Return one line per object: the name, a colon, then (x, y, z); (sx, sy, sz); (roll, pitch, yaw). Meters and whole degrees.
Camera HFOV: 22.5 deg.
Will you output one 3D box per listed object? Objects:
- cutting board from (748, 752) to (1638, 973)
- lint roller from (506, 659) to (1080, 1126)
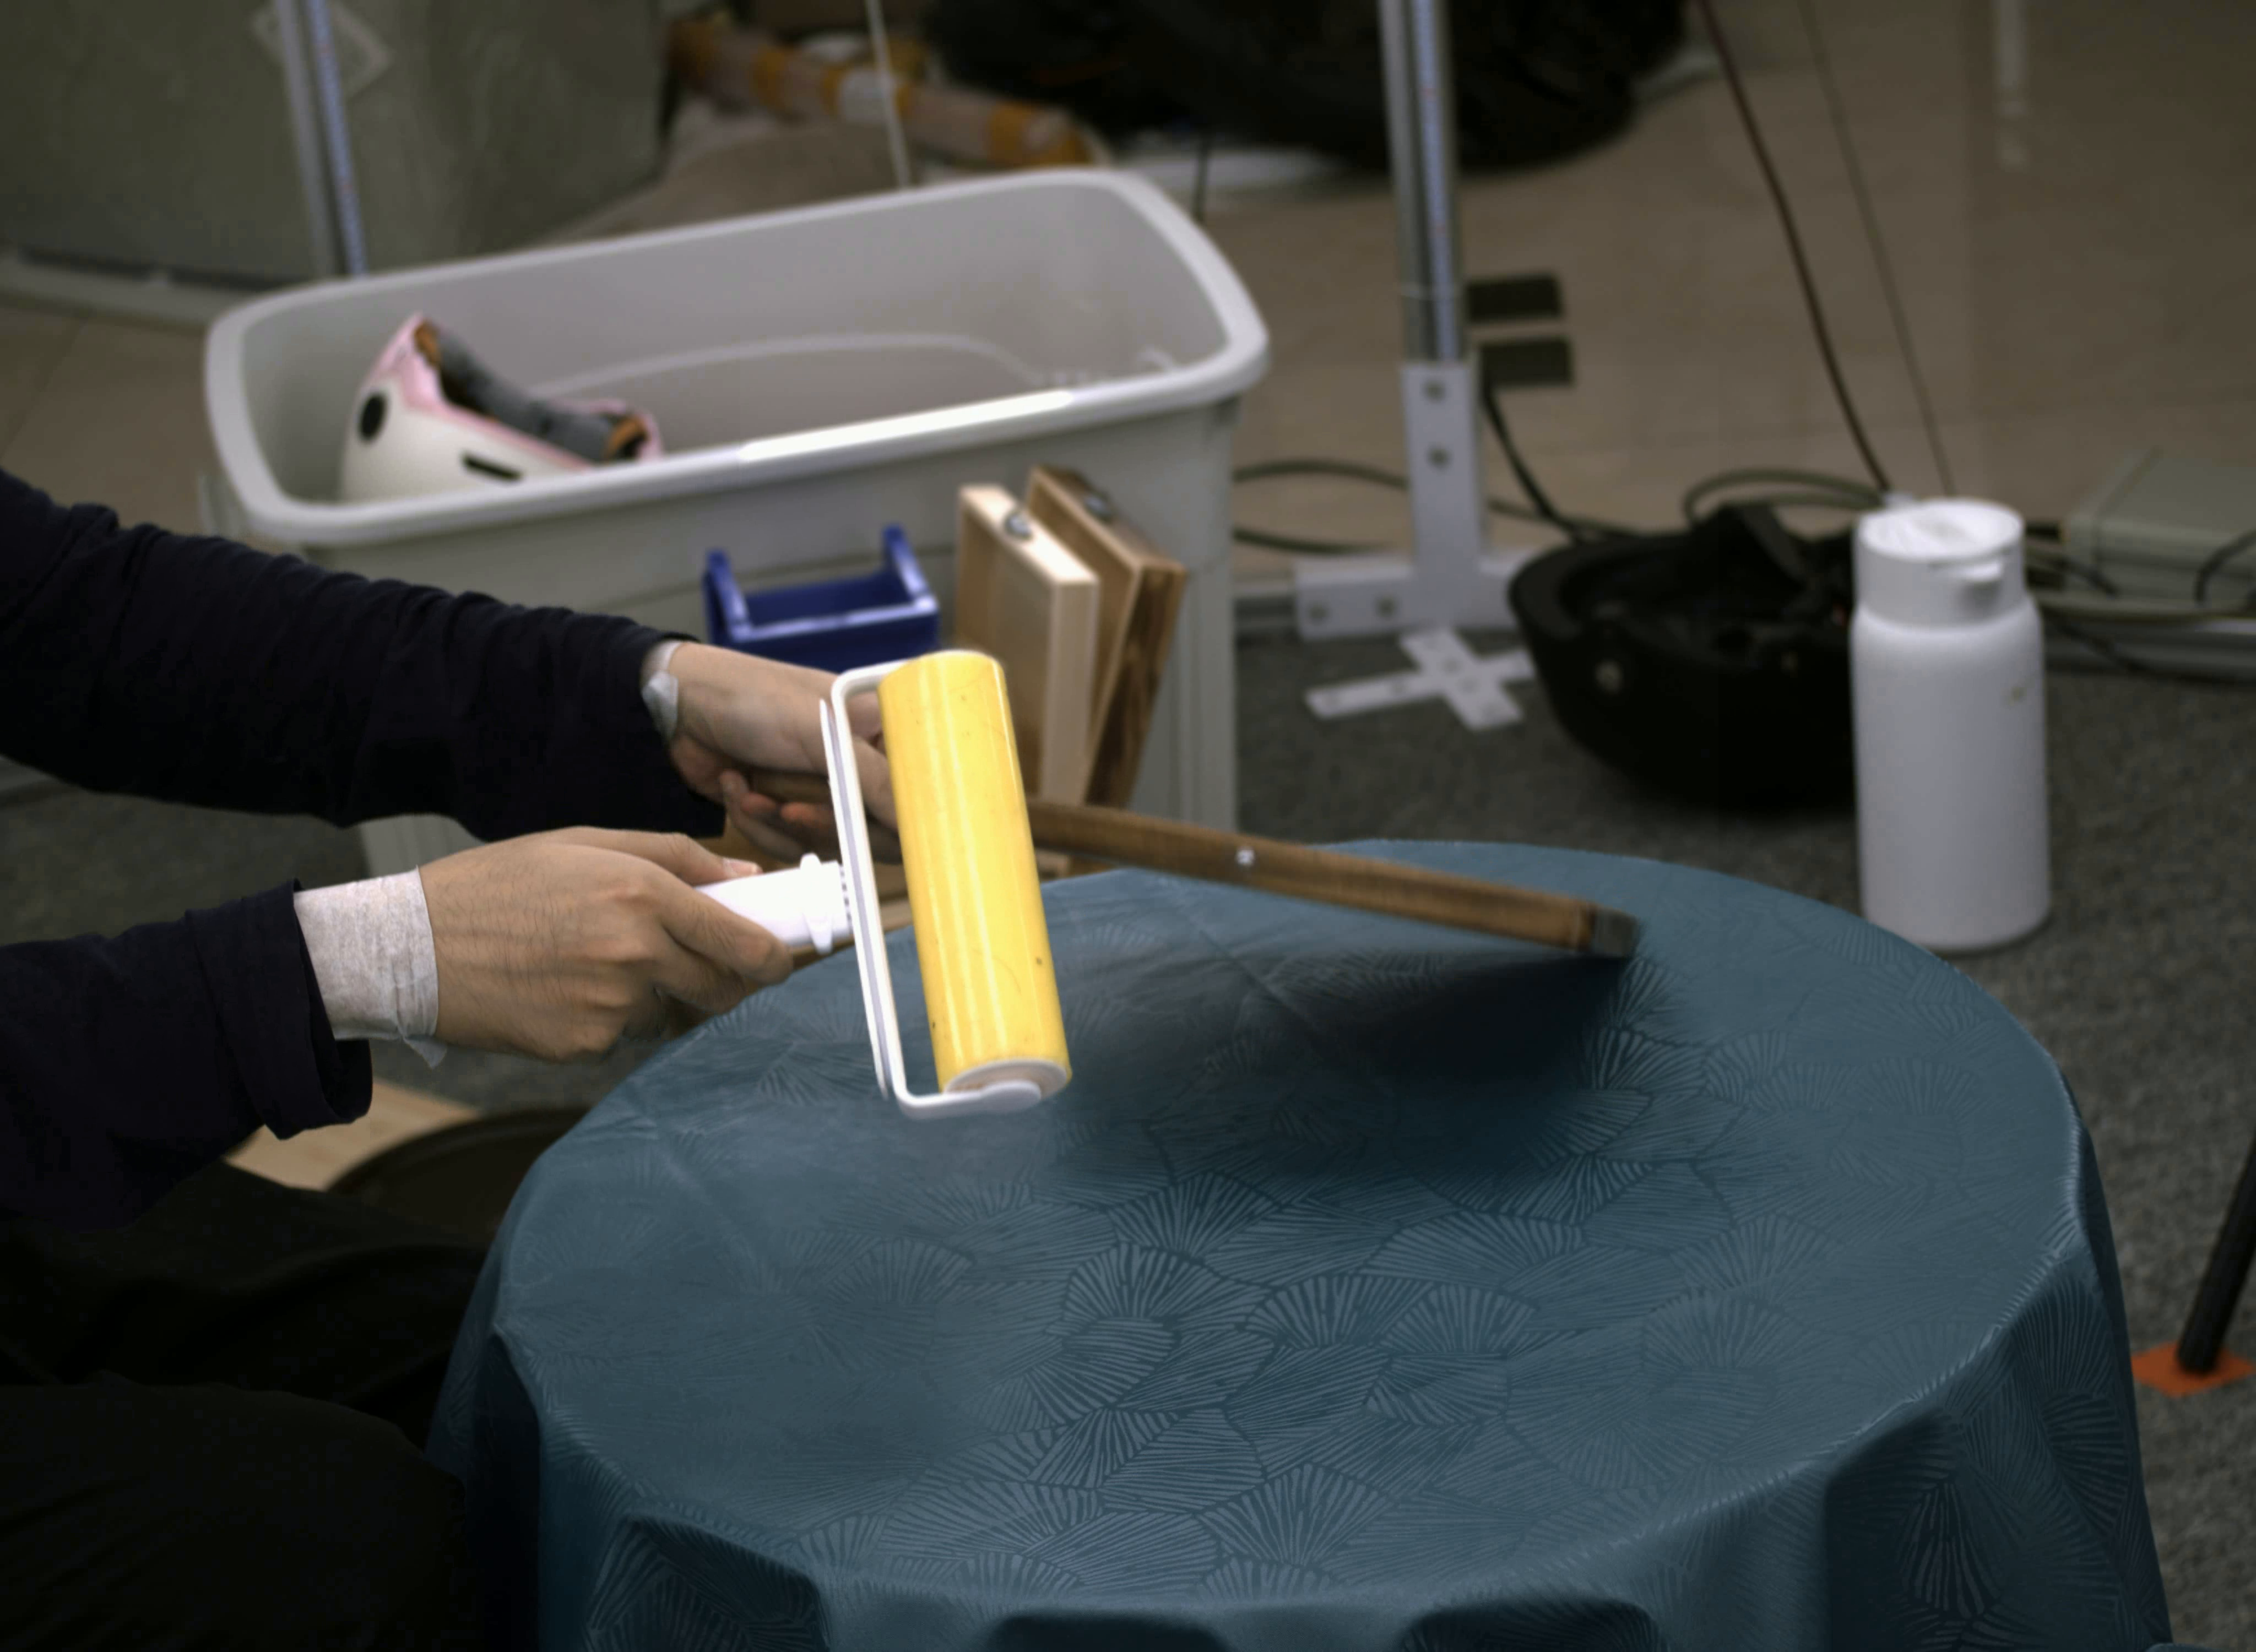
cutting board: (0.022, 0.013, 2.226); (0.351, 0.023, 0.201); (11, 2, 9)
lint roller: (-0.125, 0.032, 2.006); (0.191, 0.052, 0.172); (-7, 67, -10)
